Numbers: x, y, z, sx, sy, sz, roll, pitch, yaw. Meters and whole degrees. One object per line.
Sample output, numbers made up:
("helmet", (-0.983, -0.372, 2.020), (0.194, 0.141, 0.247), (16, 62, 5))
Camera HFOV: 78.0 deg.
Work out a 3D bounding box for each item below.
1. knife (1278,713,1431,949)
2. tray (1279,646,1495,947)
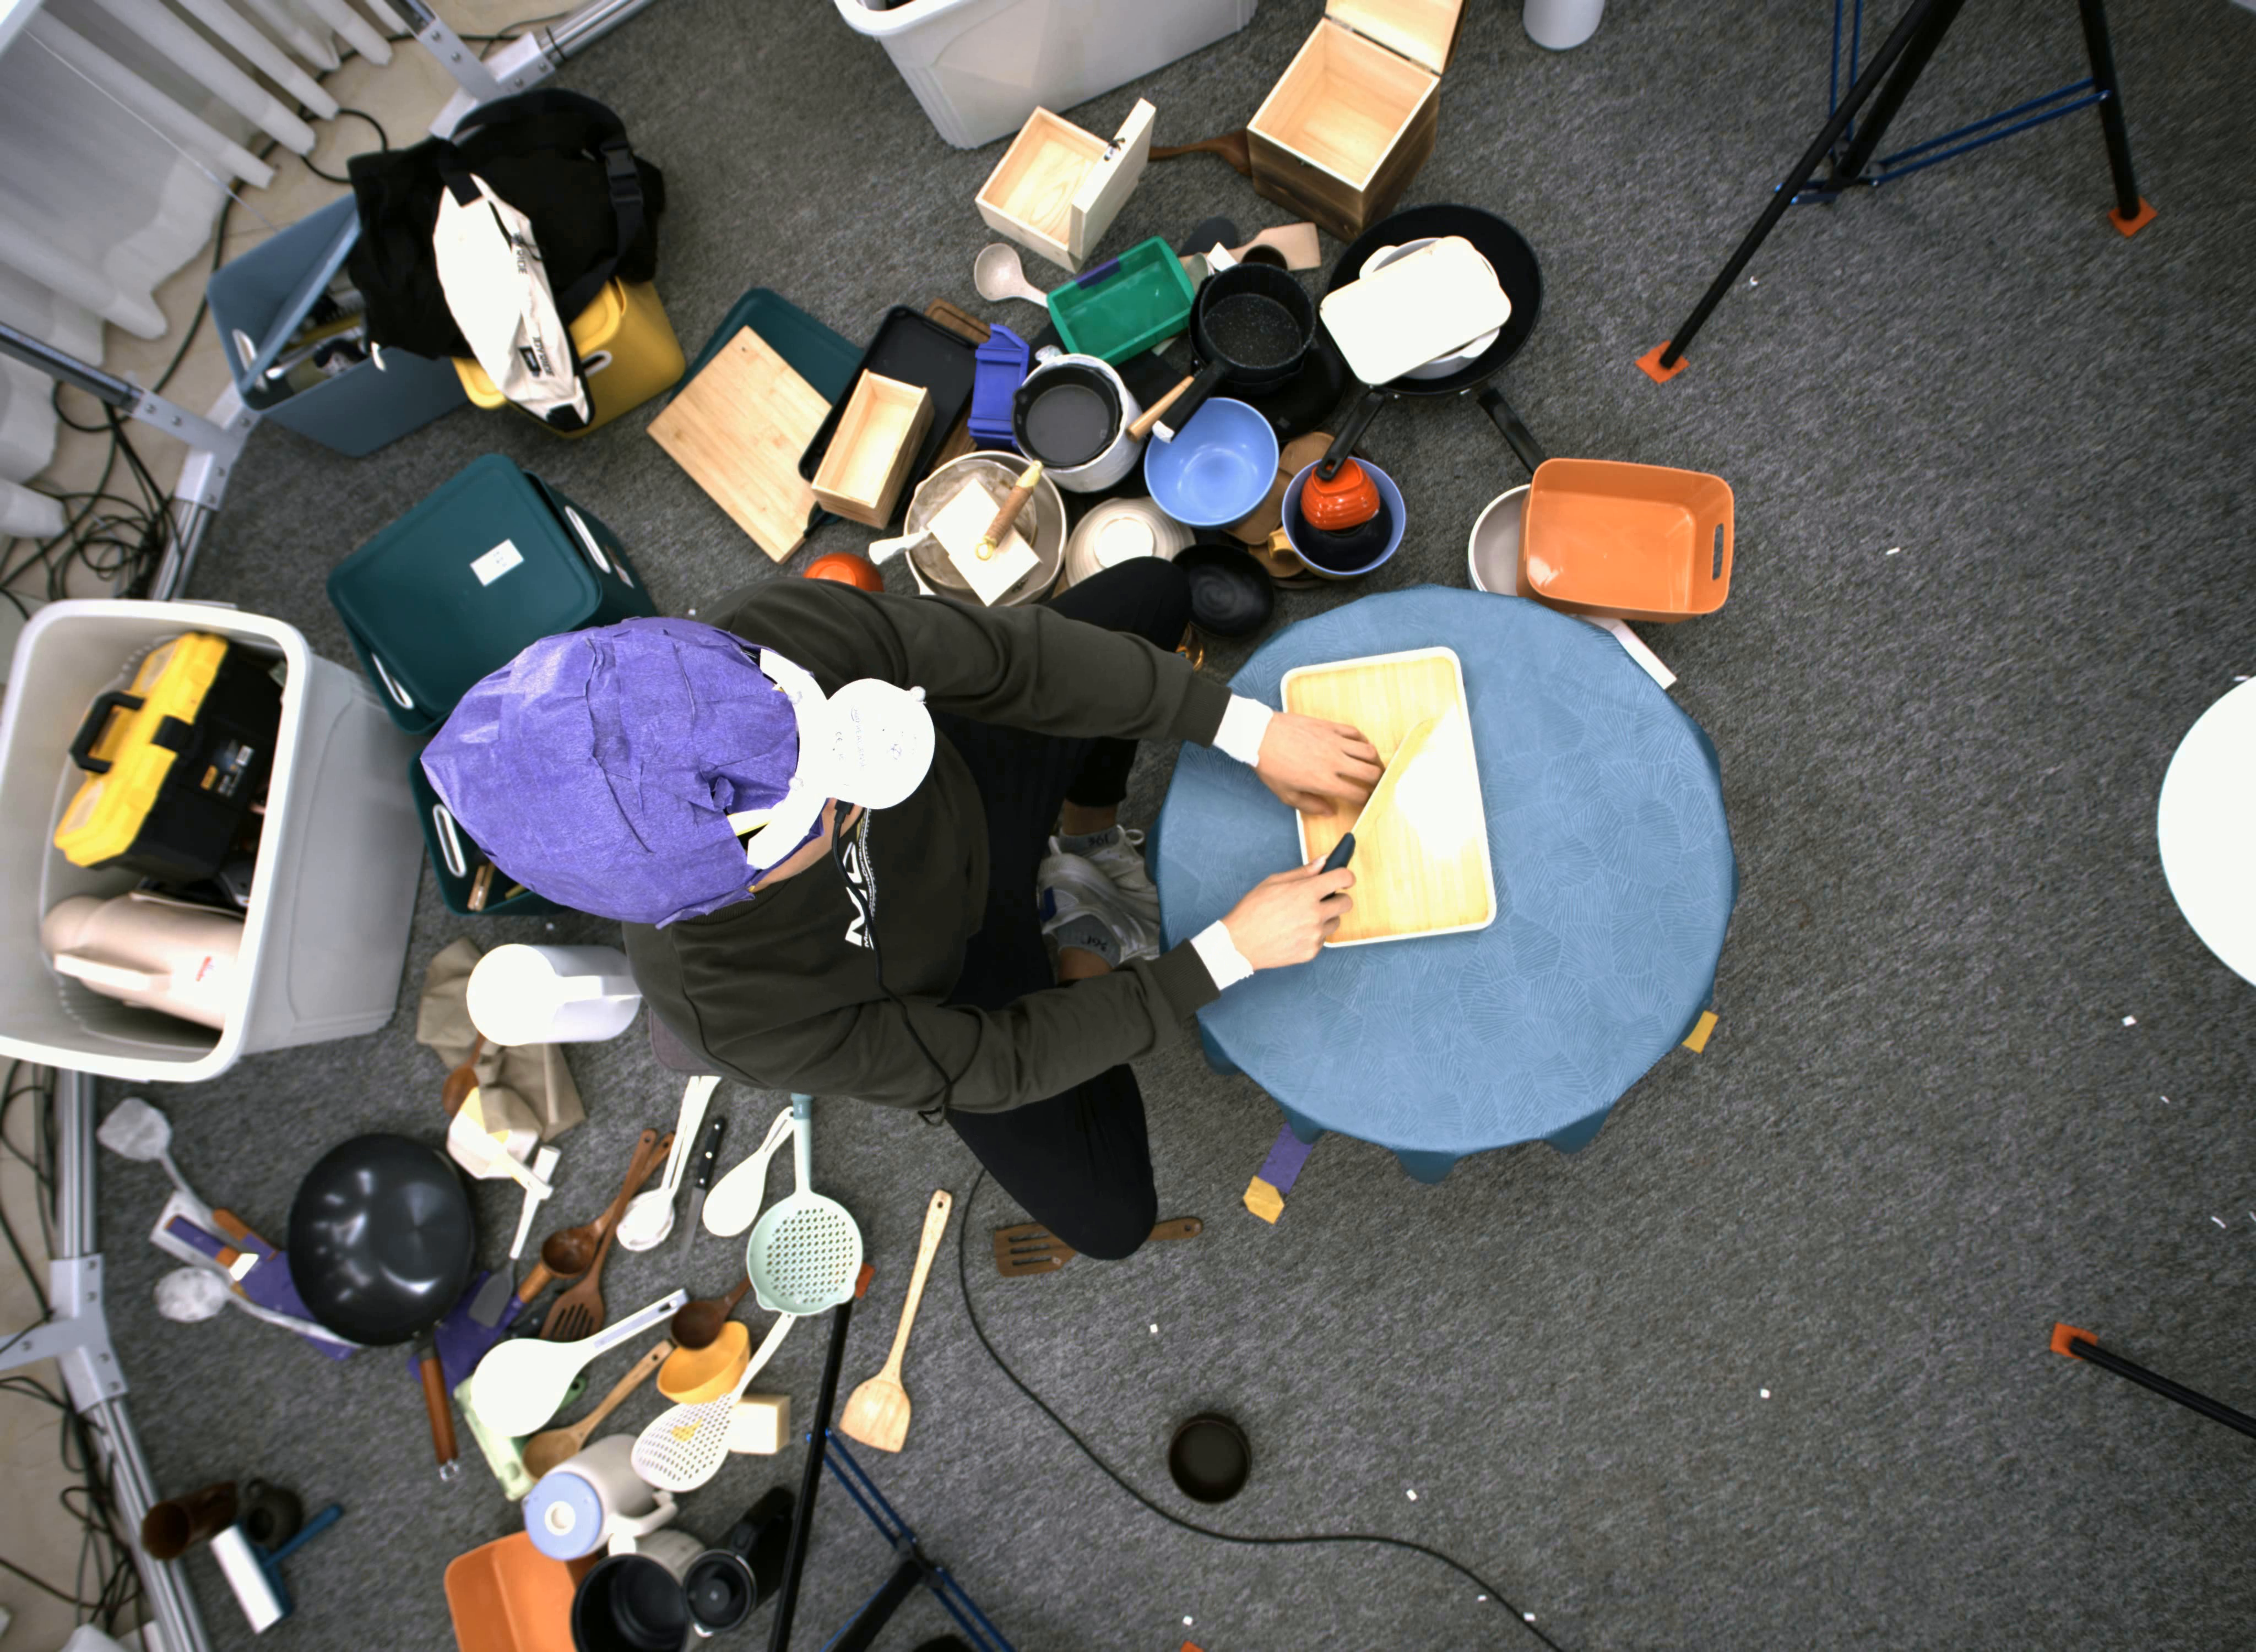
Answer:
("knife", (0.238, 0.003, 1.422), (0.027, 0.081, 0.289), (32, 88, 23))
("tray", (0.271, -0.032, 1.452), (0.192, 0.027, 0.298), (-8, 85, 11))
